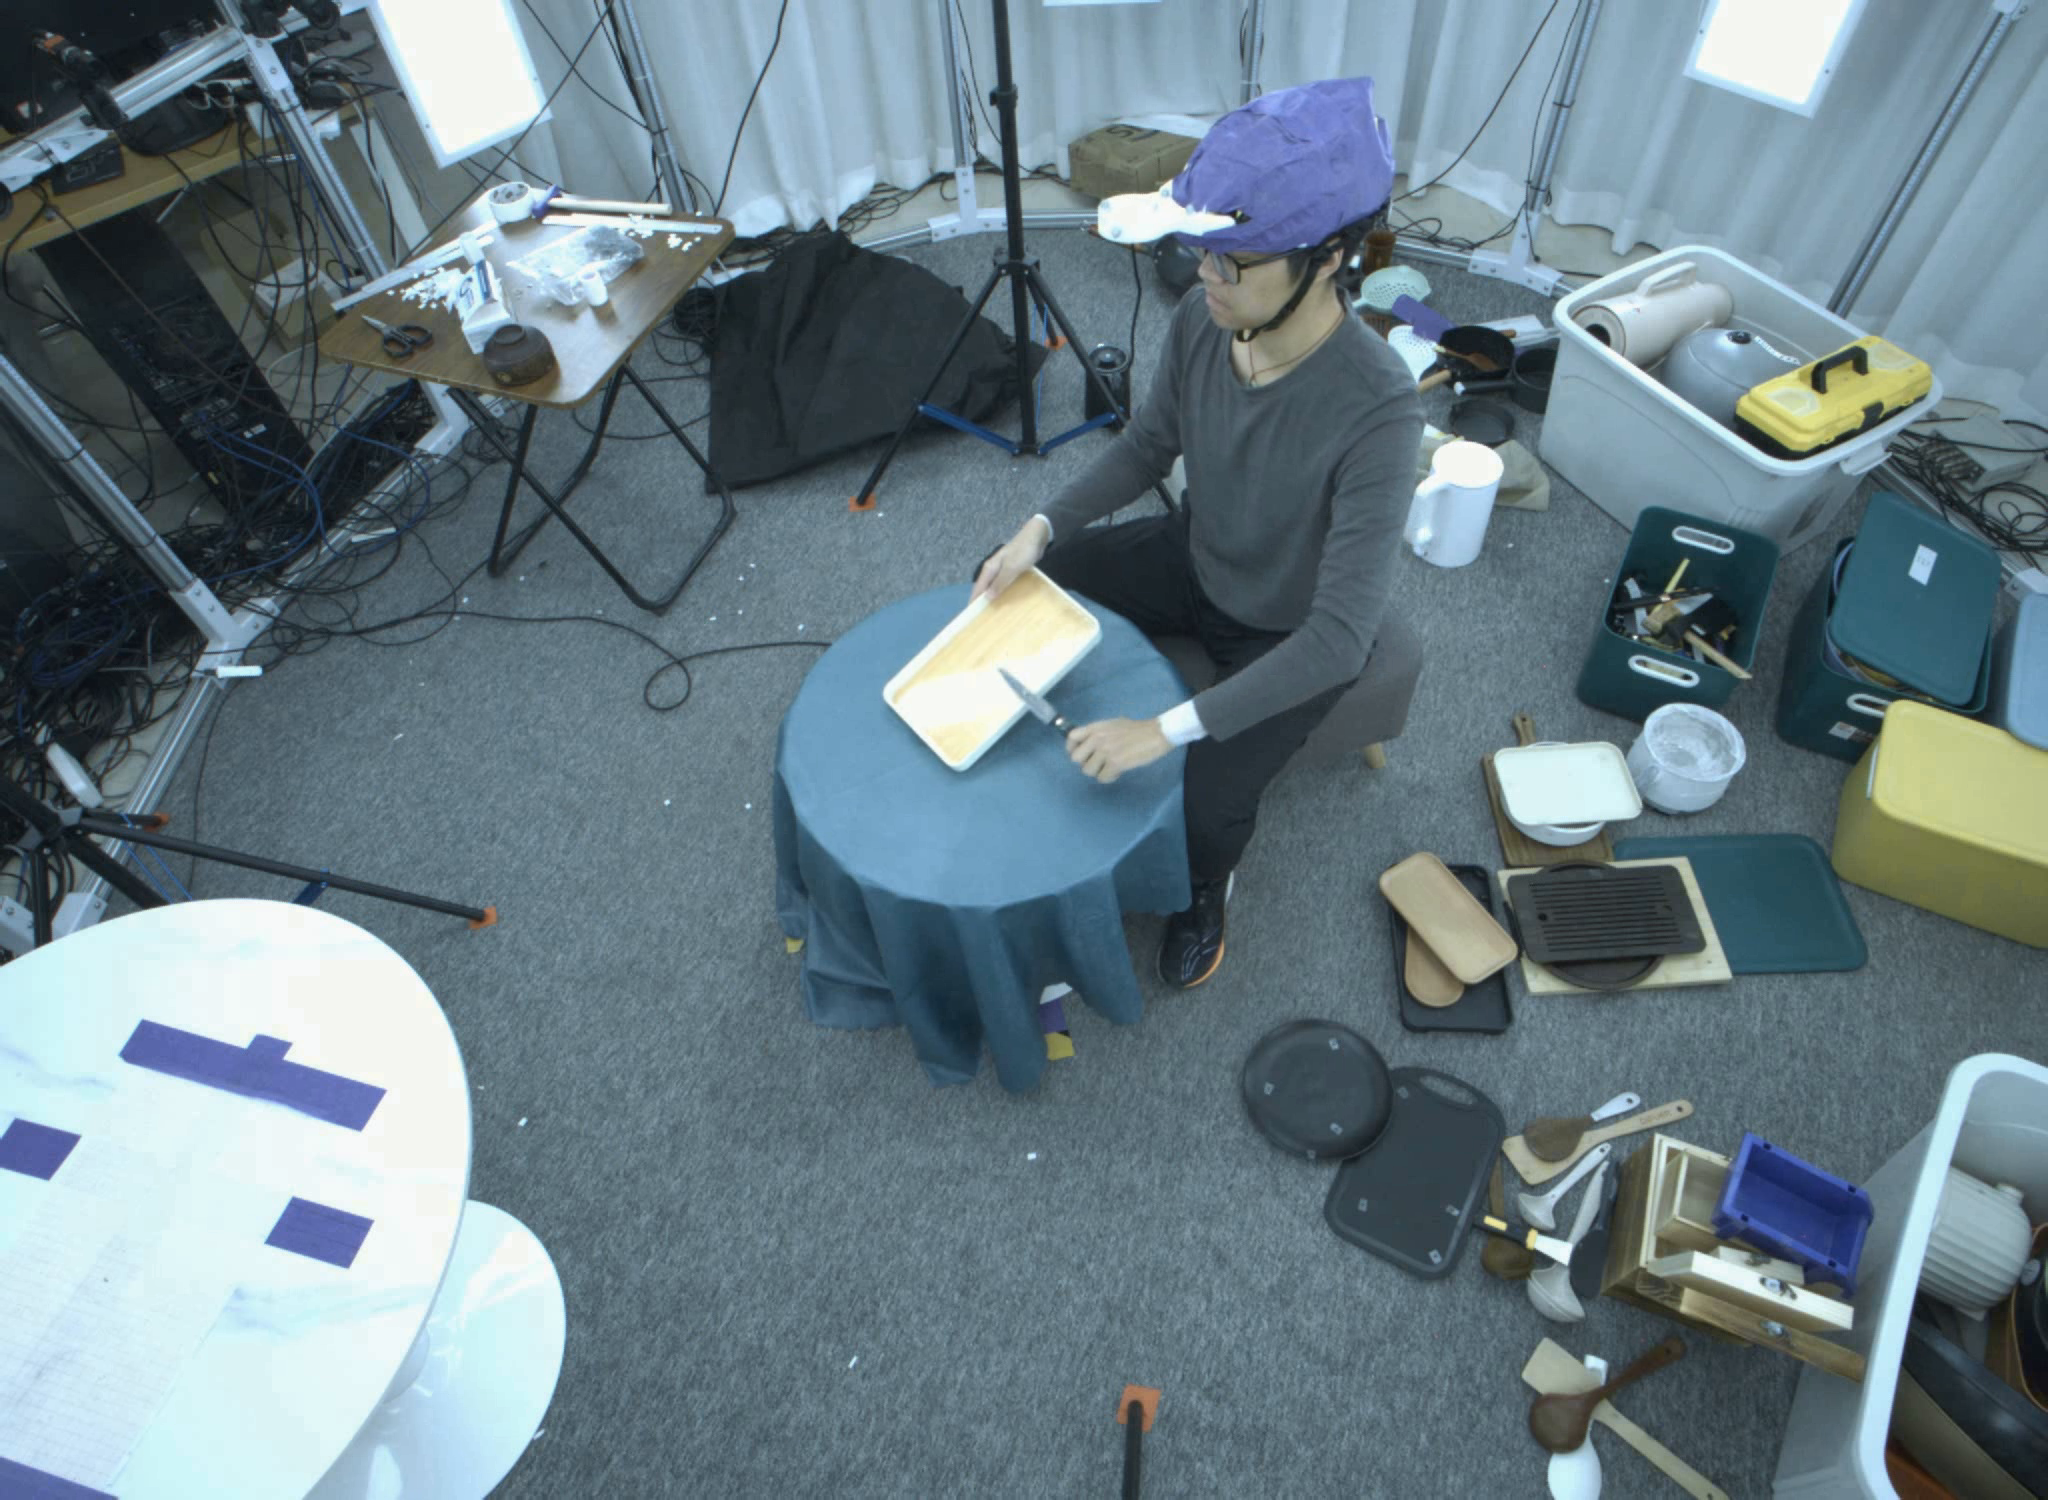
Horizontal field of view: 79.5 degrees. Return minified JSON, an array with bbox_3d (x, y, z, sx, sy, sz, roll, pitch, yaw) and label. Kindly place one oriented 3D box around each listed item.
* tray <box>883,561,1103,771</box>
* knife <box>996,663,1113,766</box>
[{"bbox_3d":[-0.048,-0.127,1.813,0.300,0.028,0.188,-43,63,-4],"label":"tray"},{"bbox_3d":[0.042,-0.057,1.742,0.234,0.016,0.024,42,91,23],"label":"knife"}]
